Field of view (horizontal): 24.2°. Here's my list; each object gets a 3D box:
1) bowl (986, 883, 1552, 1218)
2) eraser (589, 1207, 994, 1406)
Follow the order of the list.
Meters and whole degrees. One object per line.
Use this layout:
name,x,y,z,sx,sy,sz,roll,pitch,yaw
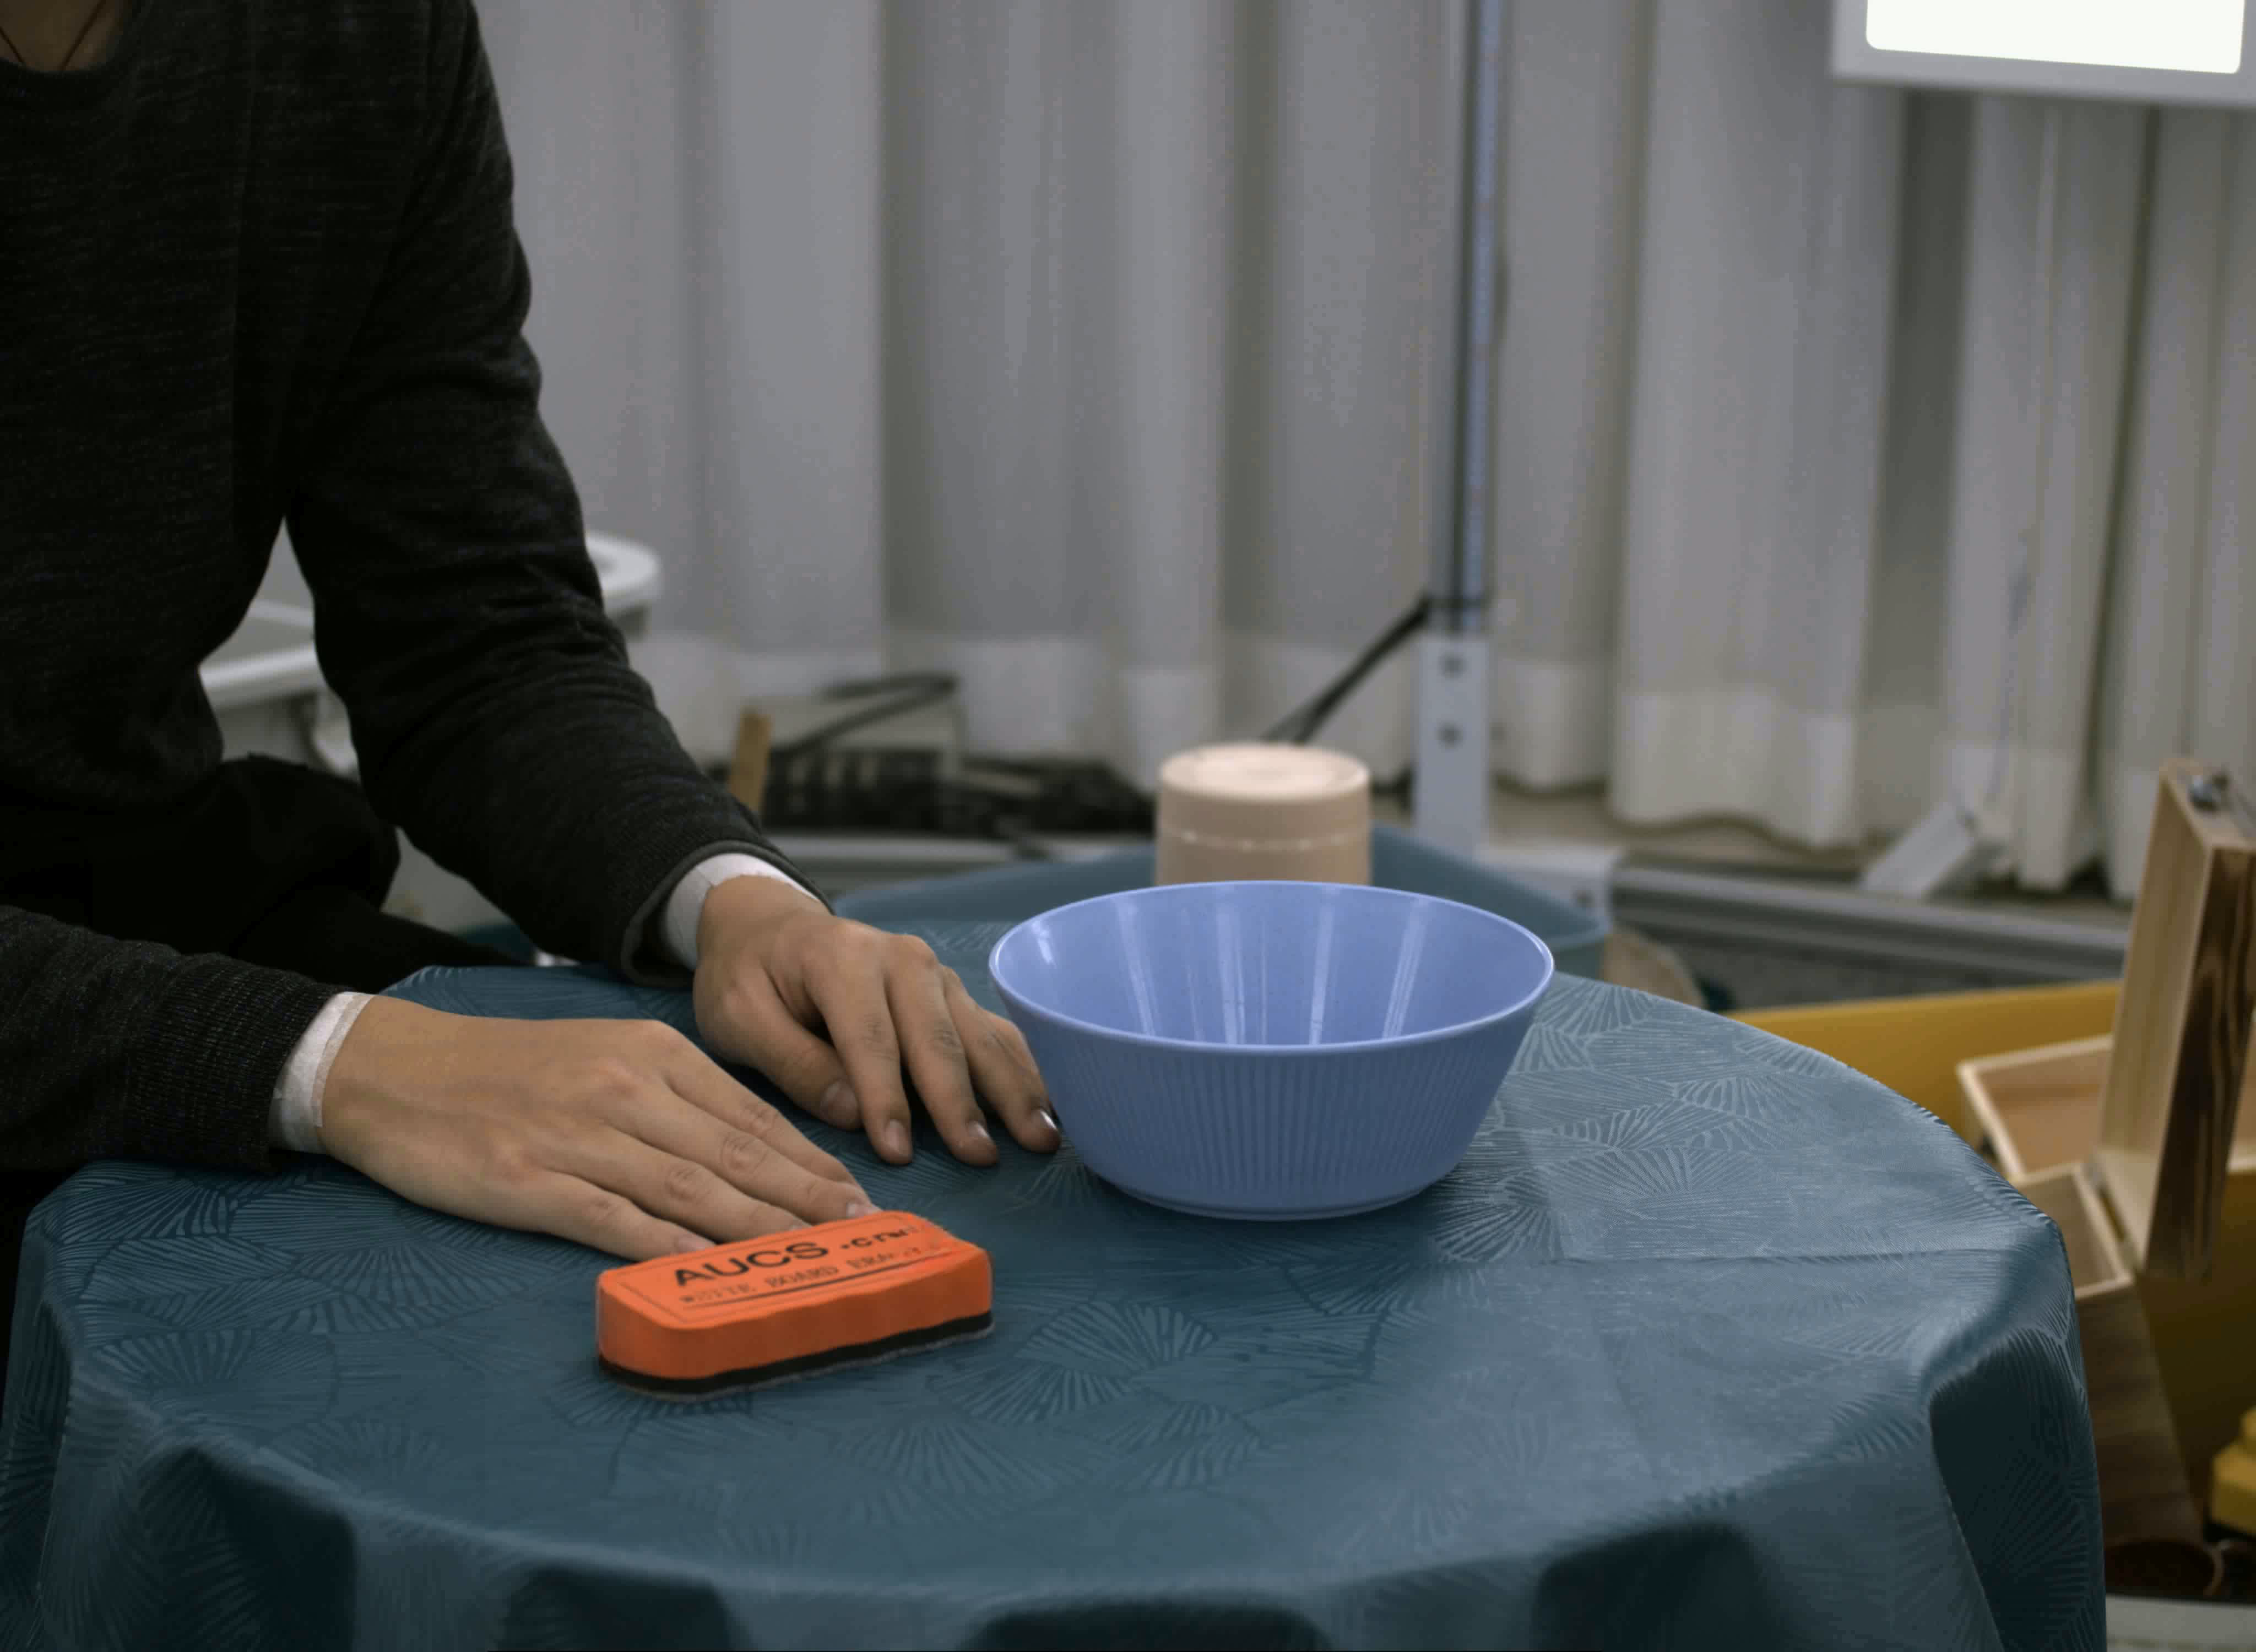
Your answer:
bowl,0.043,0.072,1.637,0.175,0.071,0.175,0,16,0
eraser,-0.095,0.135,1.490,0.108,0.023,0.058,-11,22,-32
